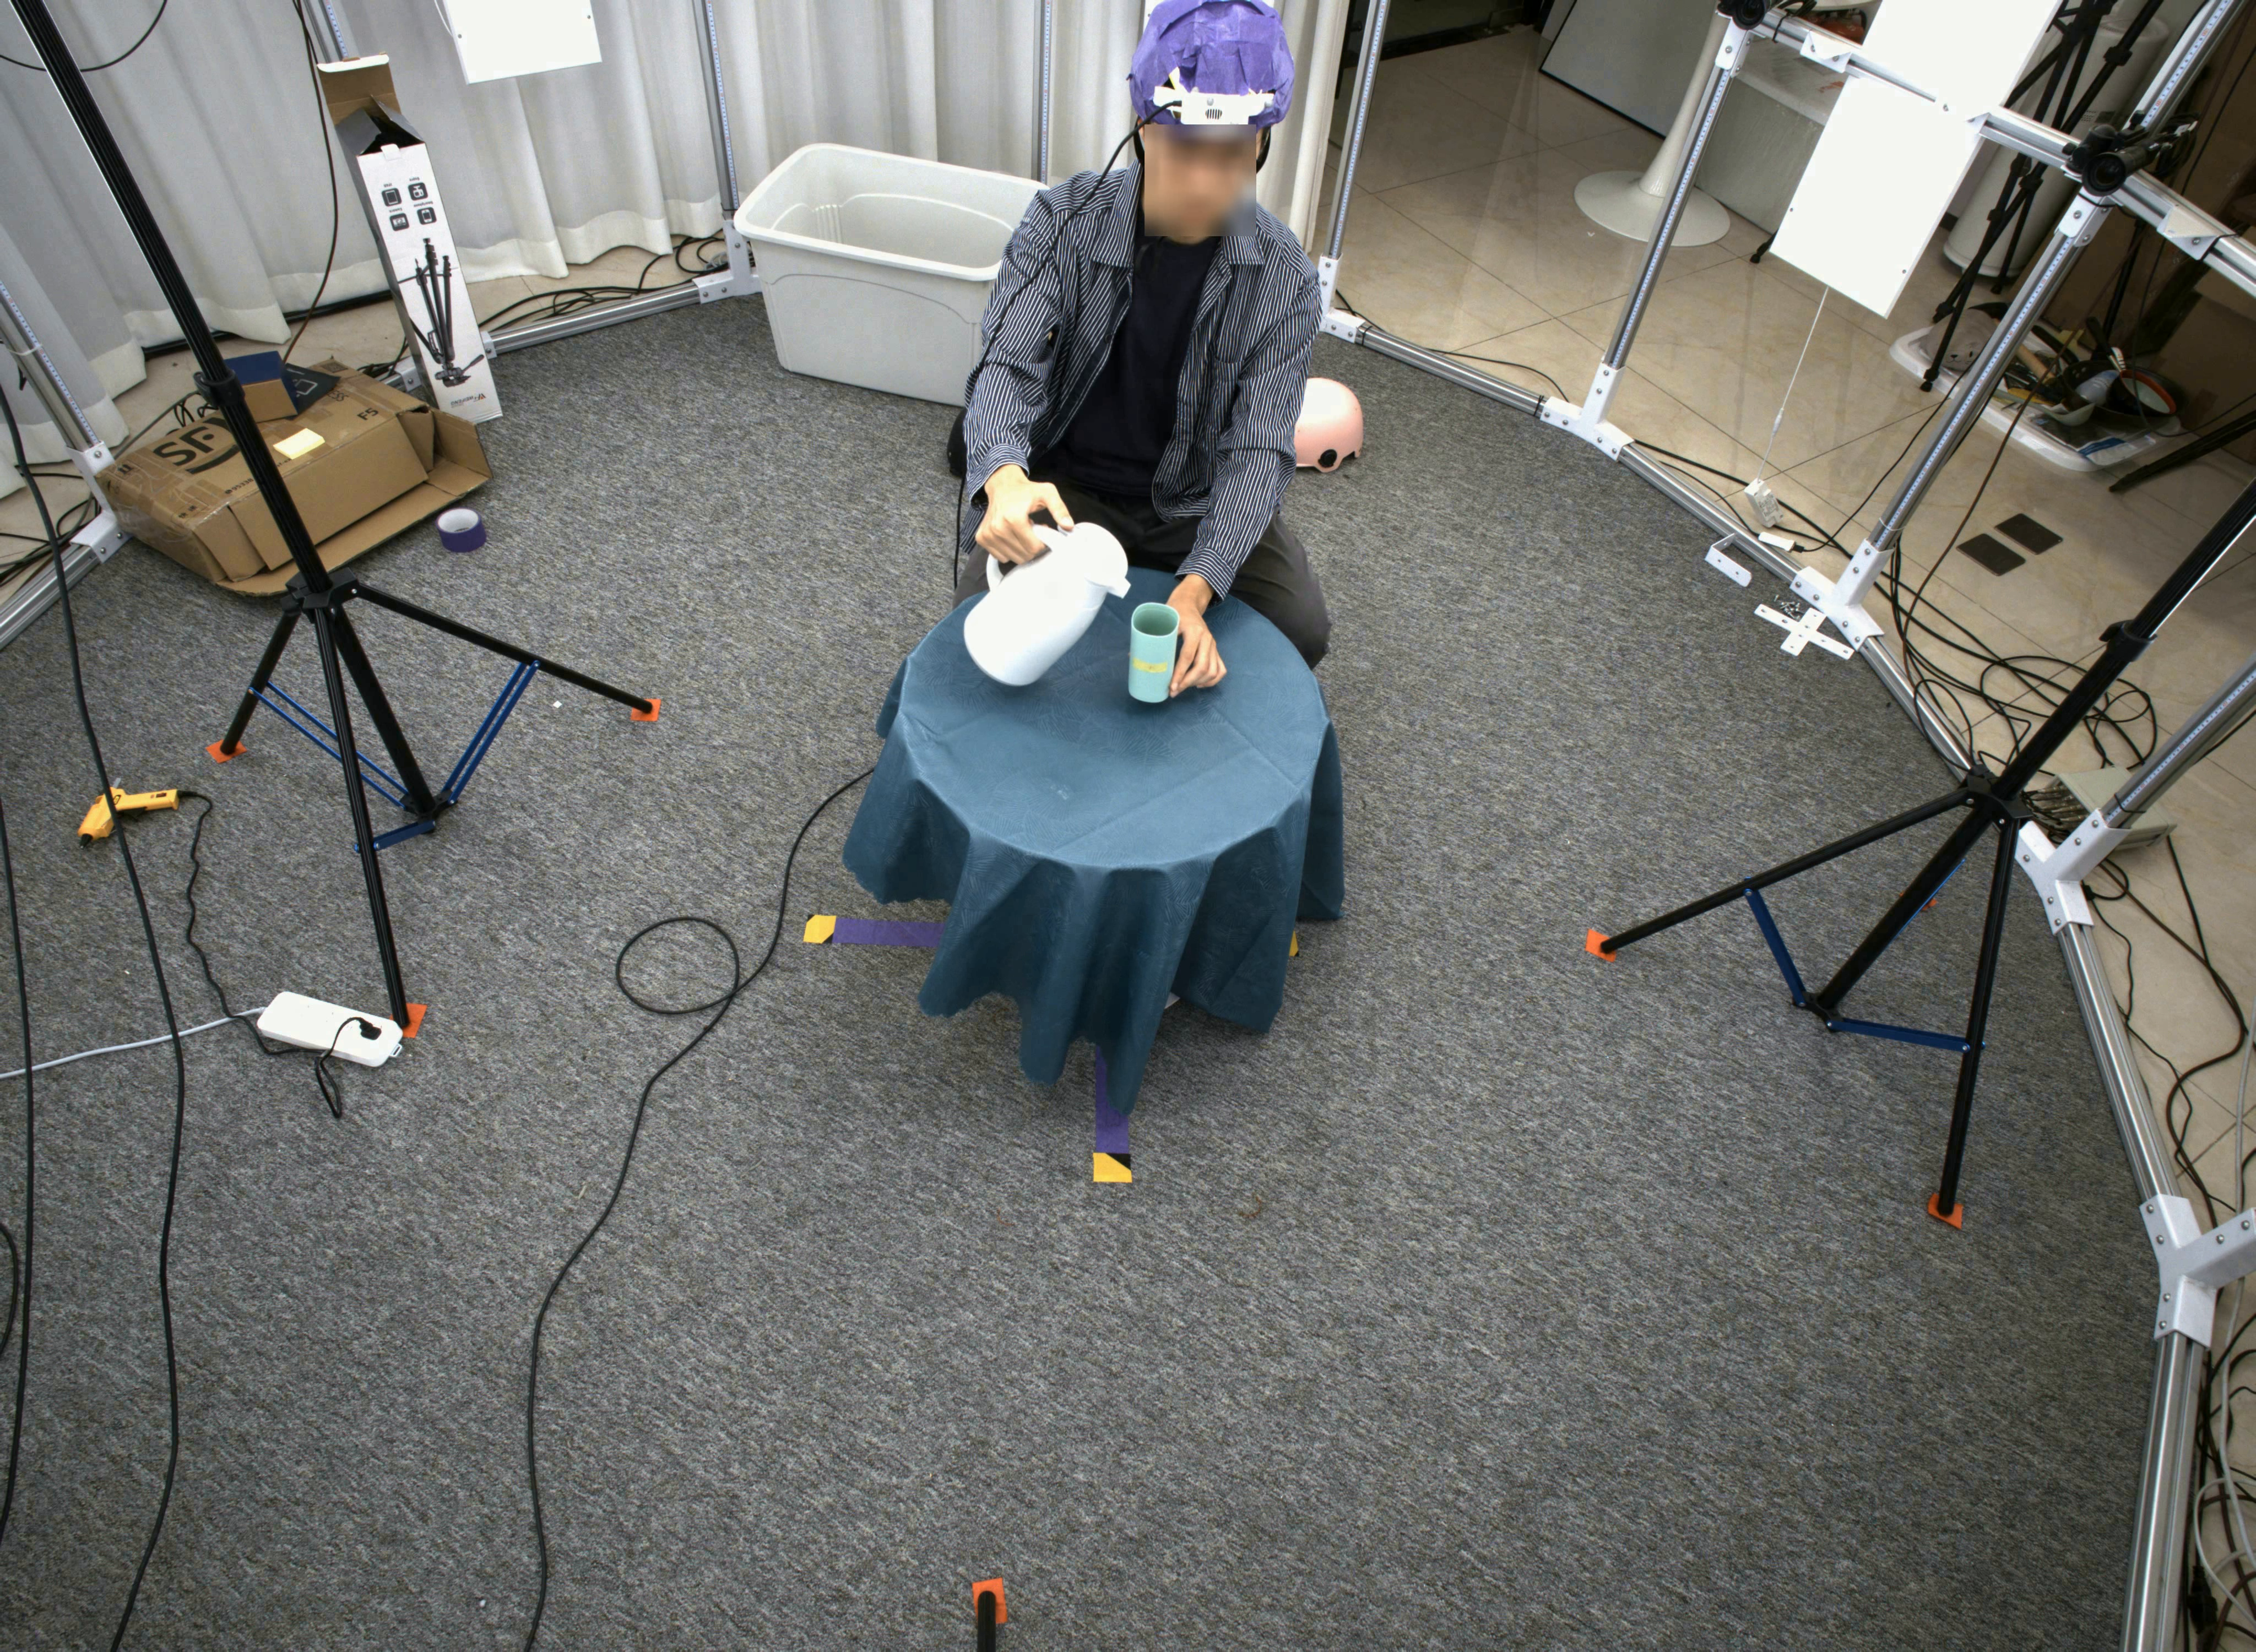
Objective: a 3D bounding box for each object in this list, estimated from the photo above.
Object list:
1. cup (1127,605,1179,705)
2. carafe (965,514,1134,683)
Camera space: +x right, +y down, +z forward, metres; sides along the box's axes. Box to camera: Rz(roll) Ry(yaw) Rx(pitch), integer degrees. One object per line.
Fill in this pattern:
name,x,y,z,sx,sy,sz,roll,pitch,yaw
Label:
cup,0.033,-0.233,1.745,0.066,0.129,0.068,1,52,-2
carafe,-0.114,-0.312,1.684,0.166,0.246,0.135,35,51,-17
